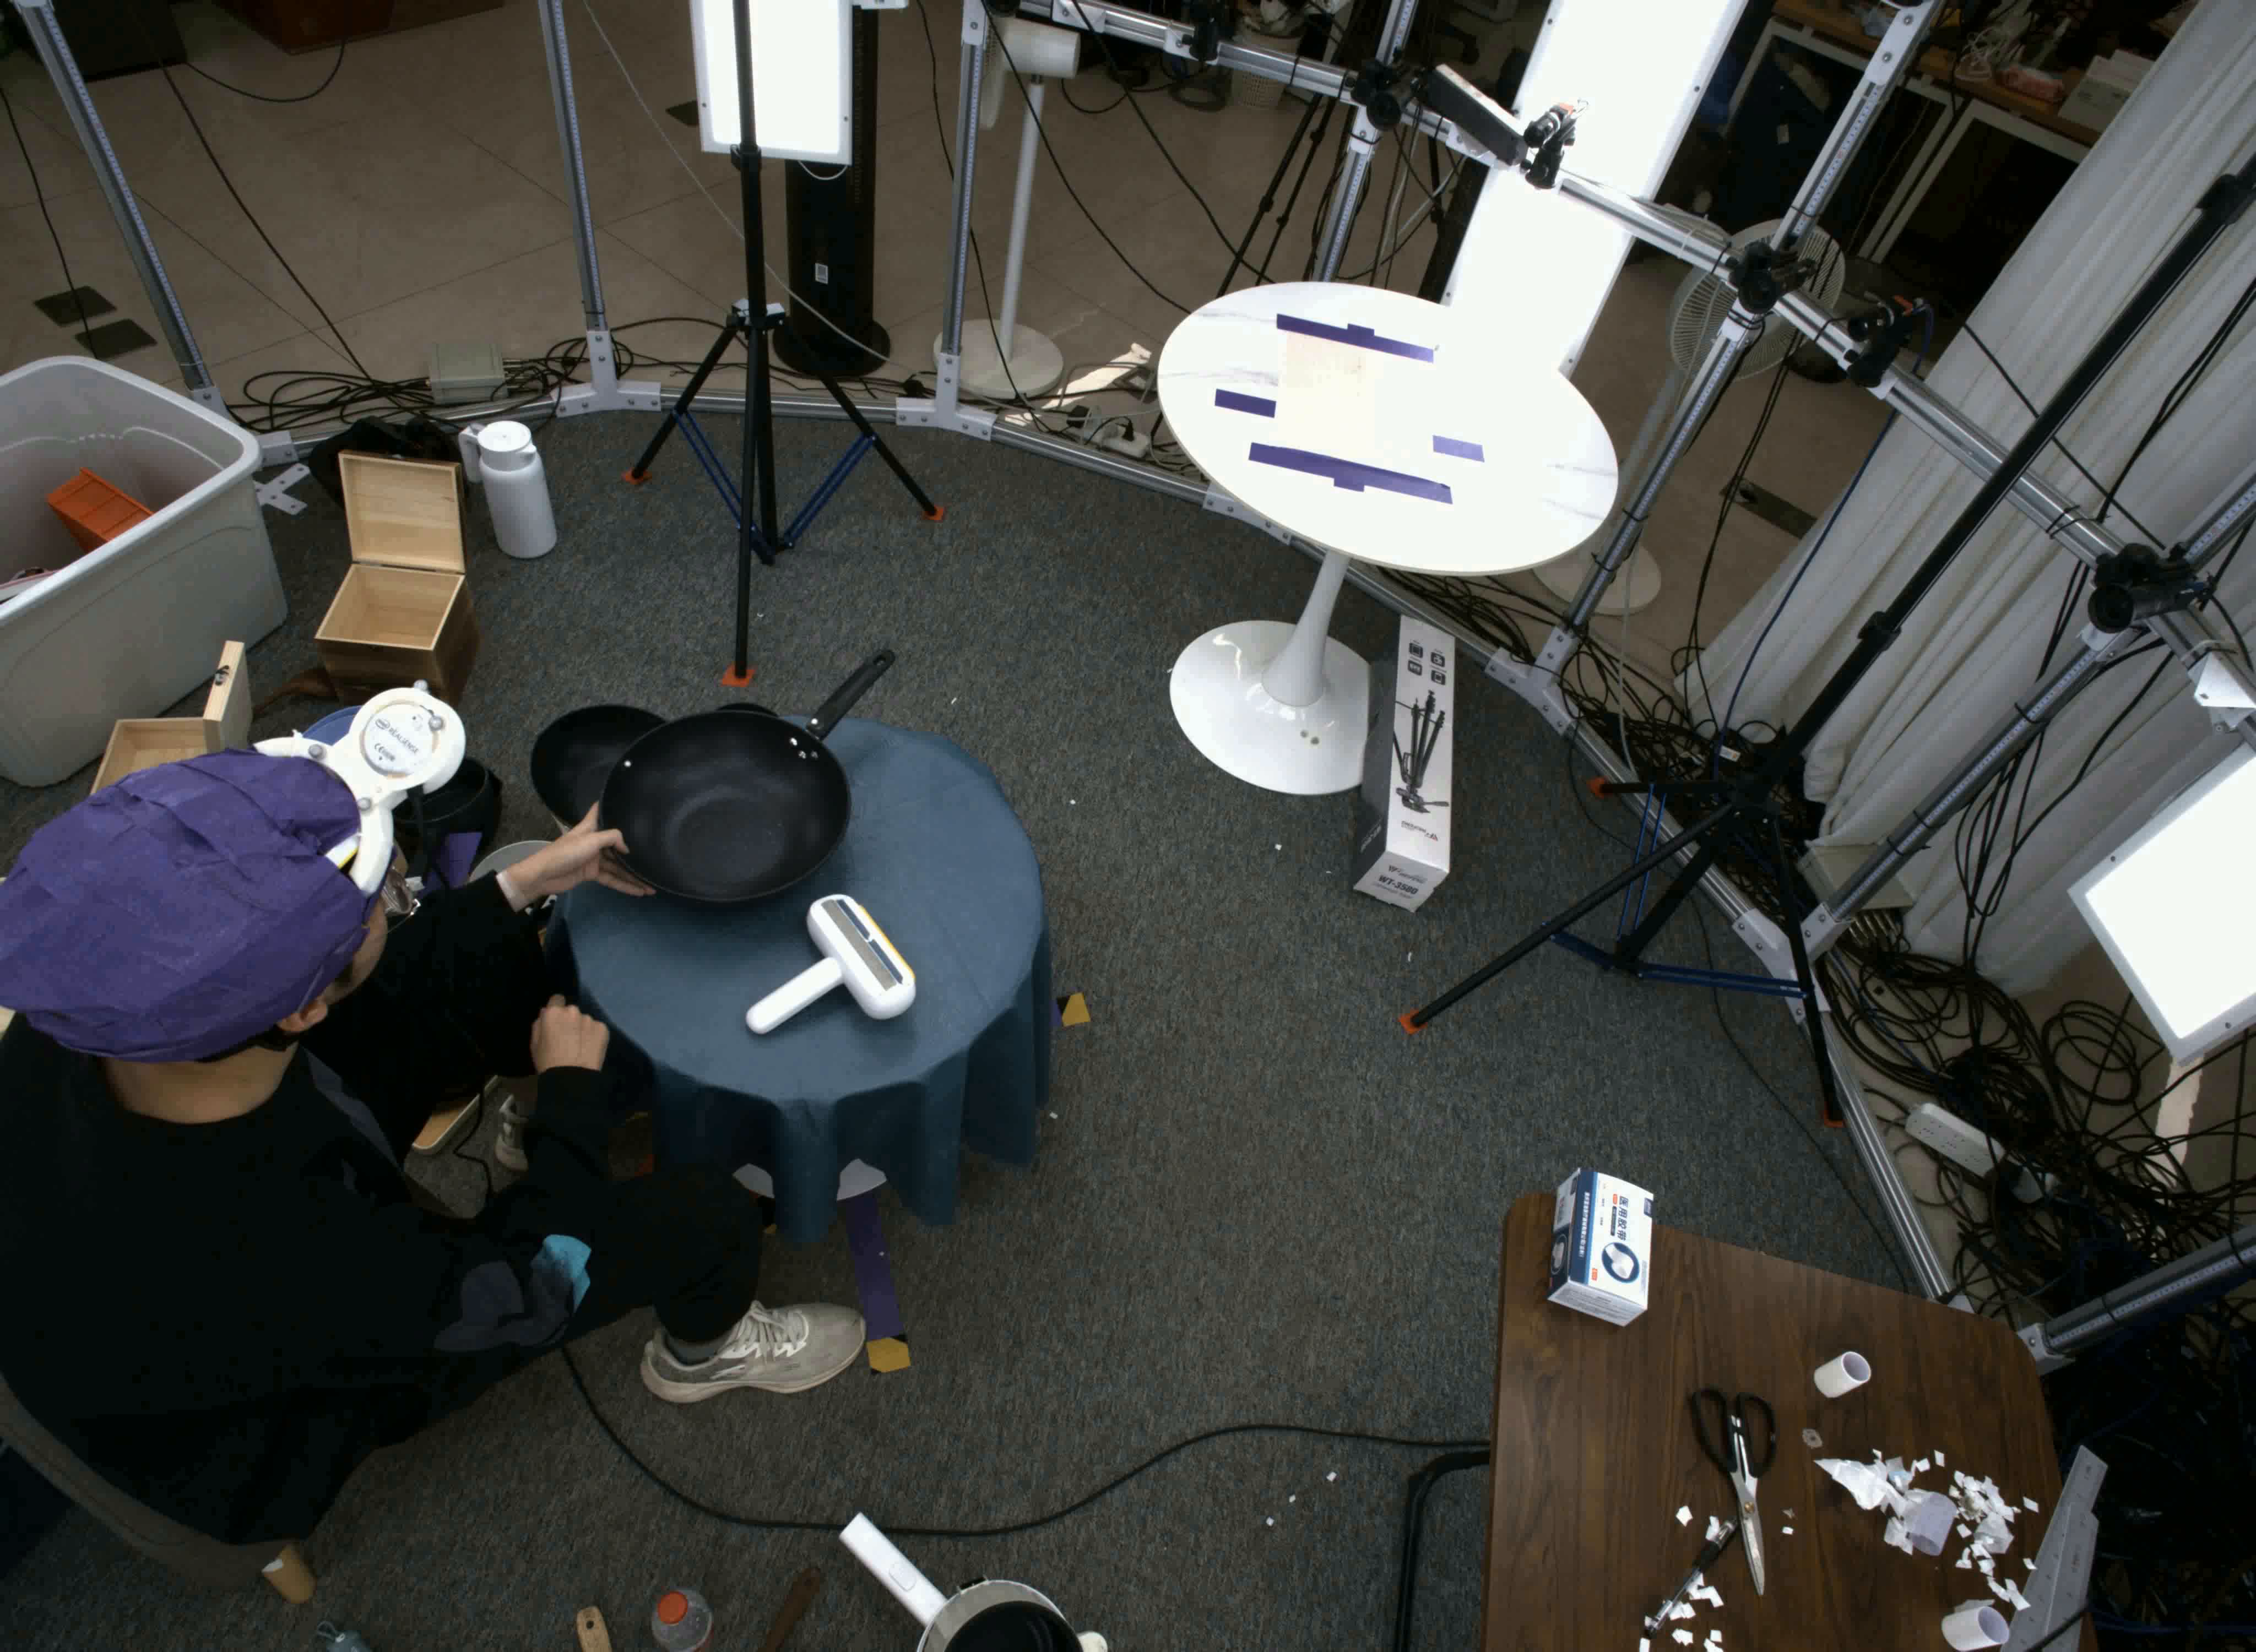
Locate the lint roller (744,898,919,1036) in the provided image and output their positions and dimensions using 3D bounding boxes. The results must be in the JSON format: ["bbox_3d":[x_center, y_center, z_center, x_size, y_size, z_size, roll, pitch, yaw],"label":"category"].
[{"bbox_3d":[-0.372,0.186,1.562,0.193,0.076,0.187,-23,57,-26],"label":"lint roller"}]

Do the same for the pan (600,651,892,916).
[{"bbox_3d":[-0.469,-0.061,1.694,0.305,0.113,0.476,34,53,9],"label":"pan"}]
